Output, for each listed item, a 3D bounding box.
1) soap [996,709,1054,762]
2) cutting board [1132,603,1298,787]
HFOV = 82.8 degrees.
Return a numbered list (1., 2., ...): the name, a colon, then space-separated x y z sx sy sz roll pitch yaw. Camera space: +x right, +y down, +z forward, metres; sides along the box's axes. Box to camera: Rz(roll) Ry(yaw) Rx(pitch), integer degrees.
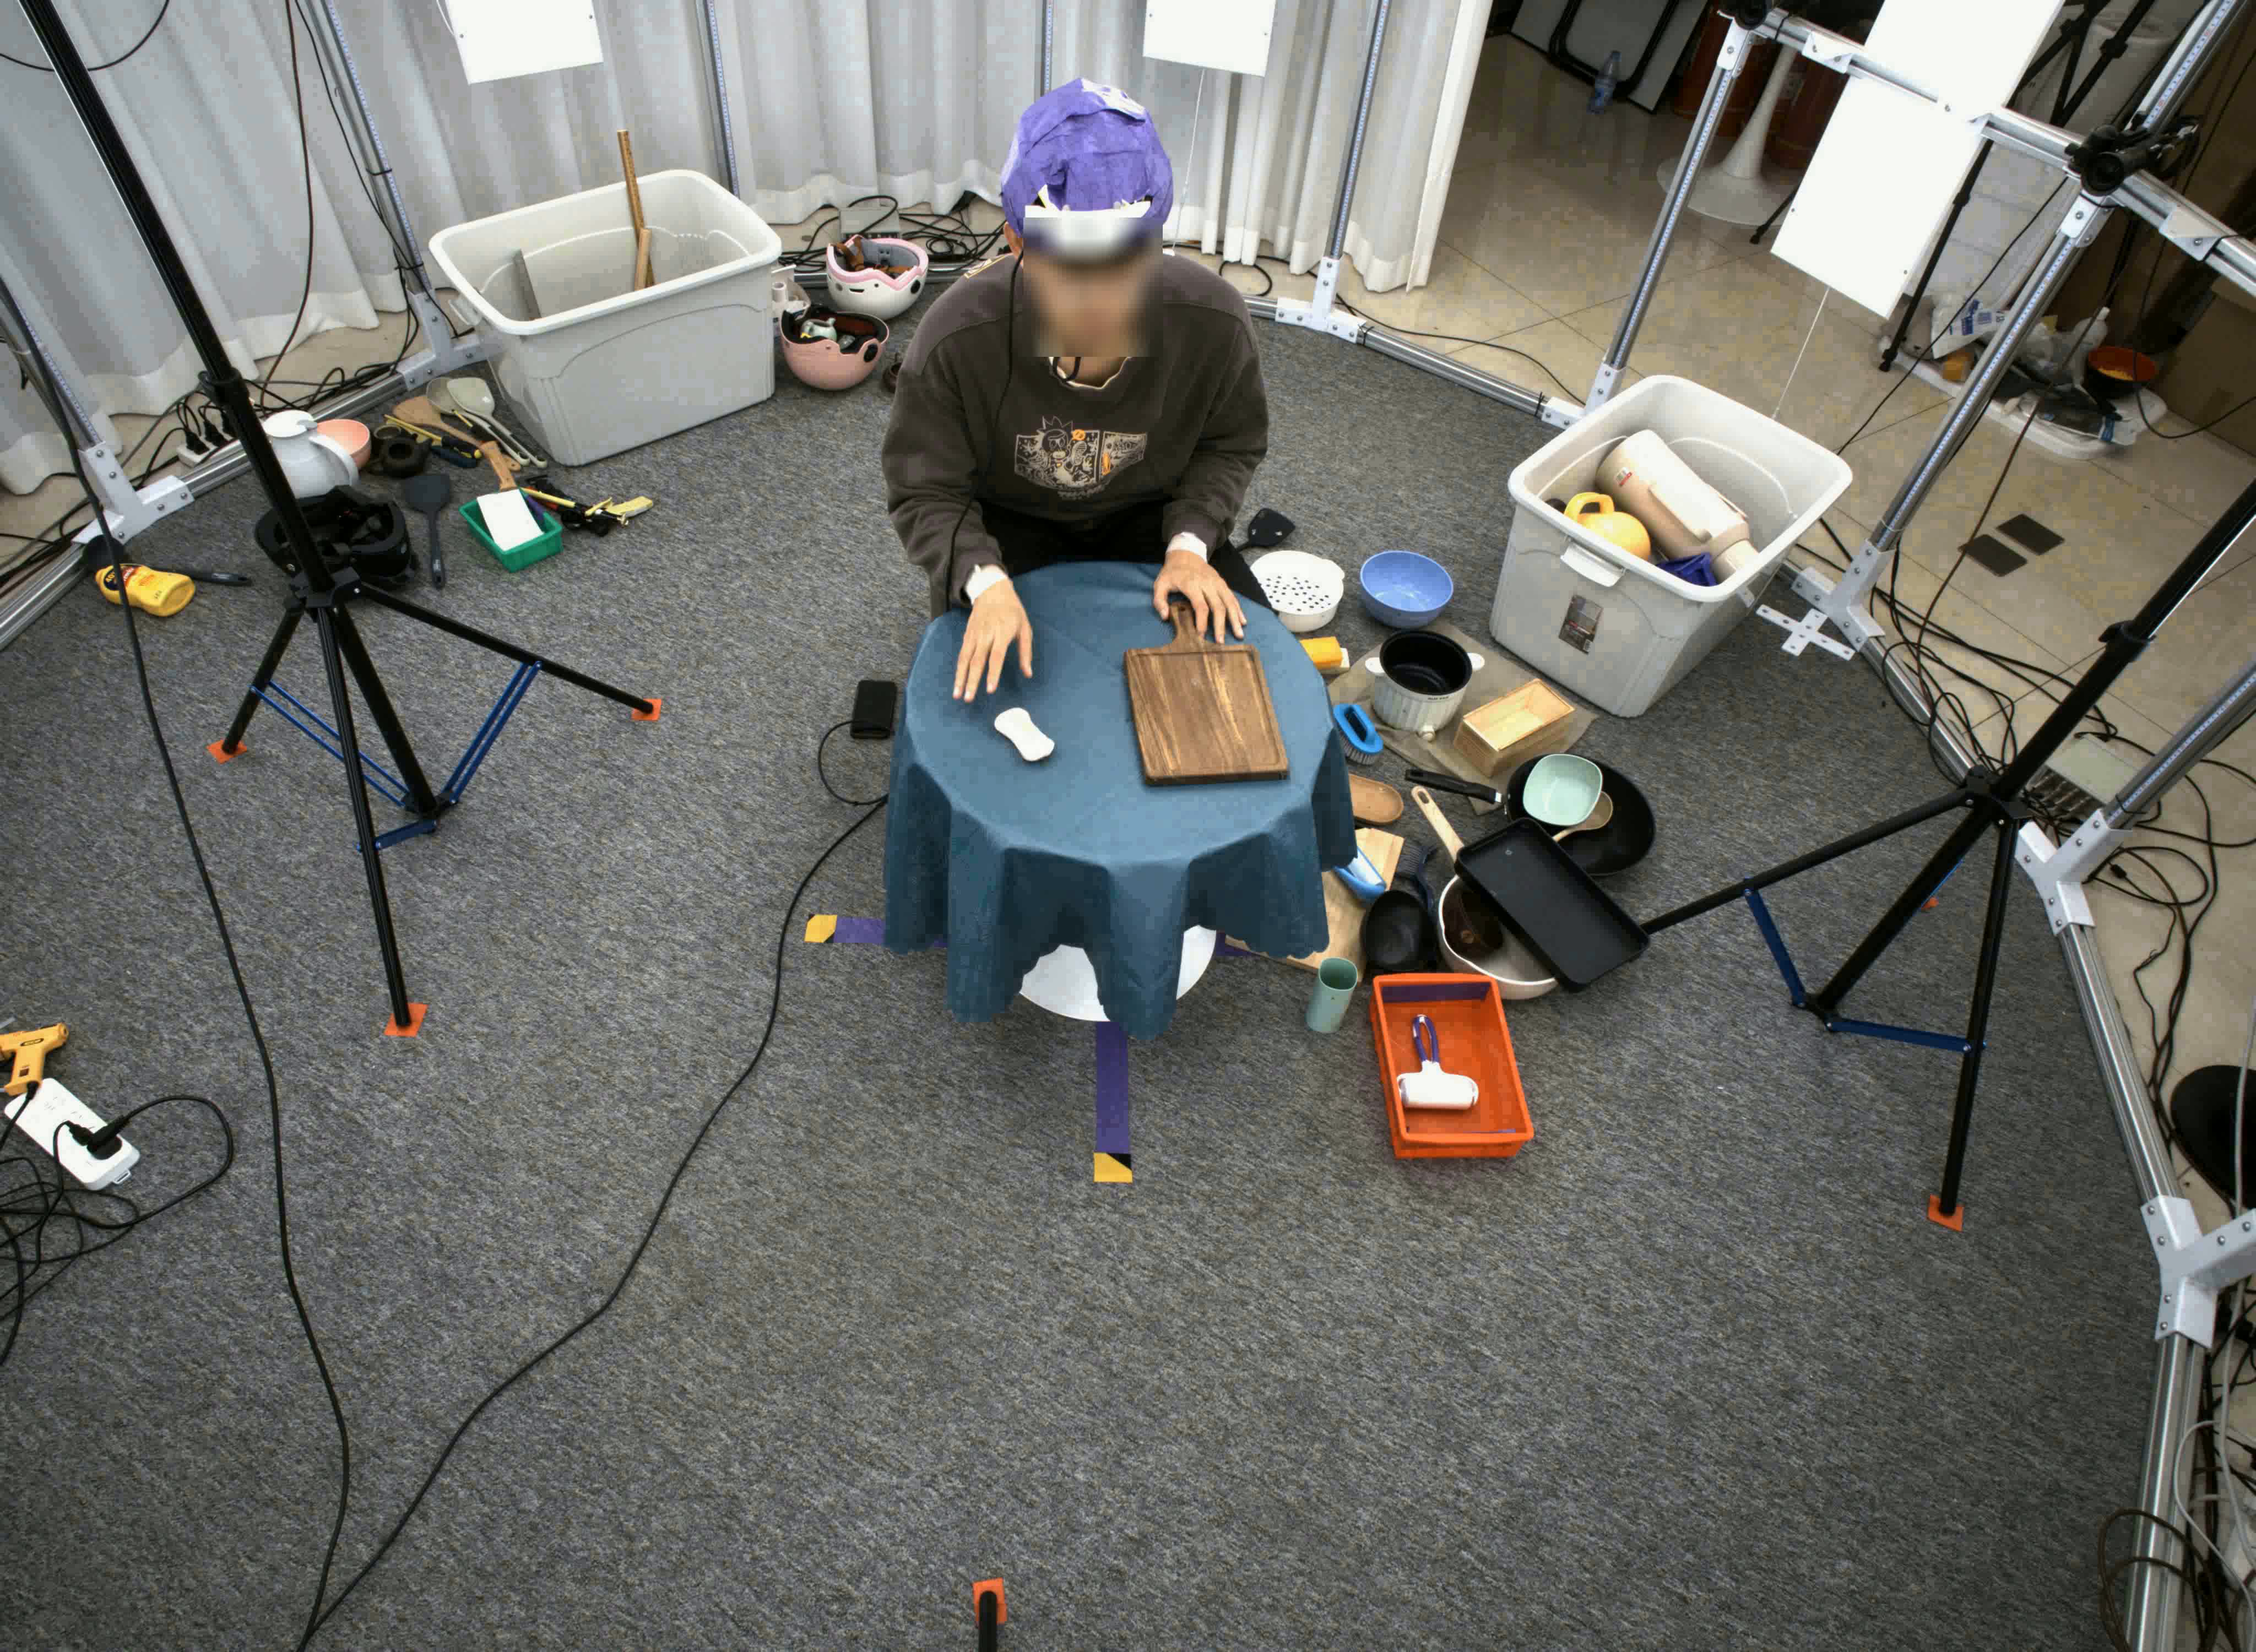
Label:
1. soap: -0.141 -0.124 1.747 0.050 0.029 0.096 -25 54 -24
2. cutting board: 0.113 -0.196 1.830 0.201 0.022 0.361 -3 49 -6
